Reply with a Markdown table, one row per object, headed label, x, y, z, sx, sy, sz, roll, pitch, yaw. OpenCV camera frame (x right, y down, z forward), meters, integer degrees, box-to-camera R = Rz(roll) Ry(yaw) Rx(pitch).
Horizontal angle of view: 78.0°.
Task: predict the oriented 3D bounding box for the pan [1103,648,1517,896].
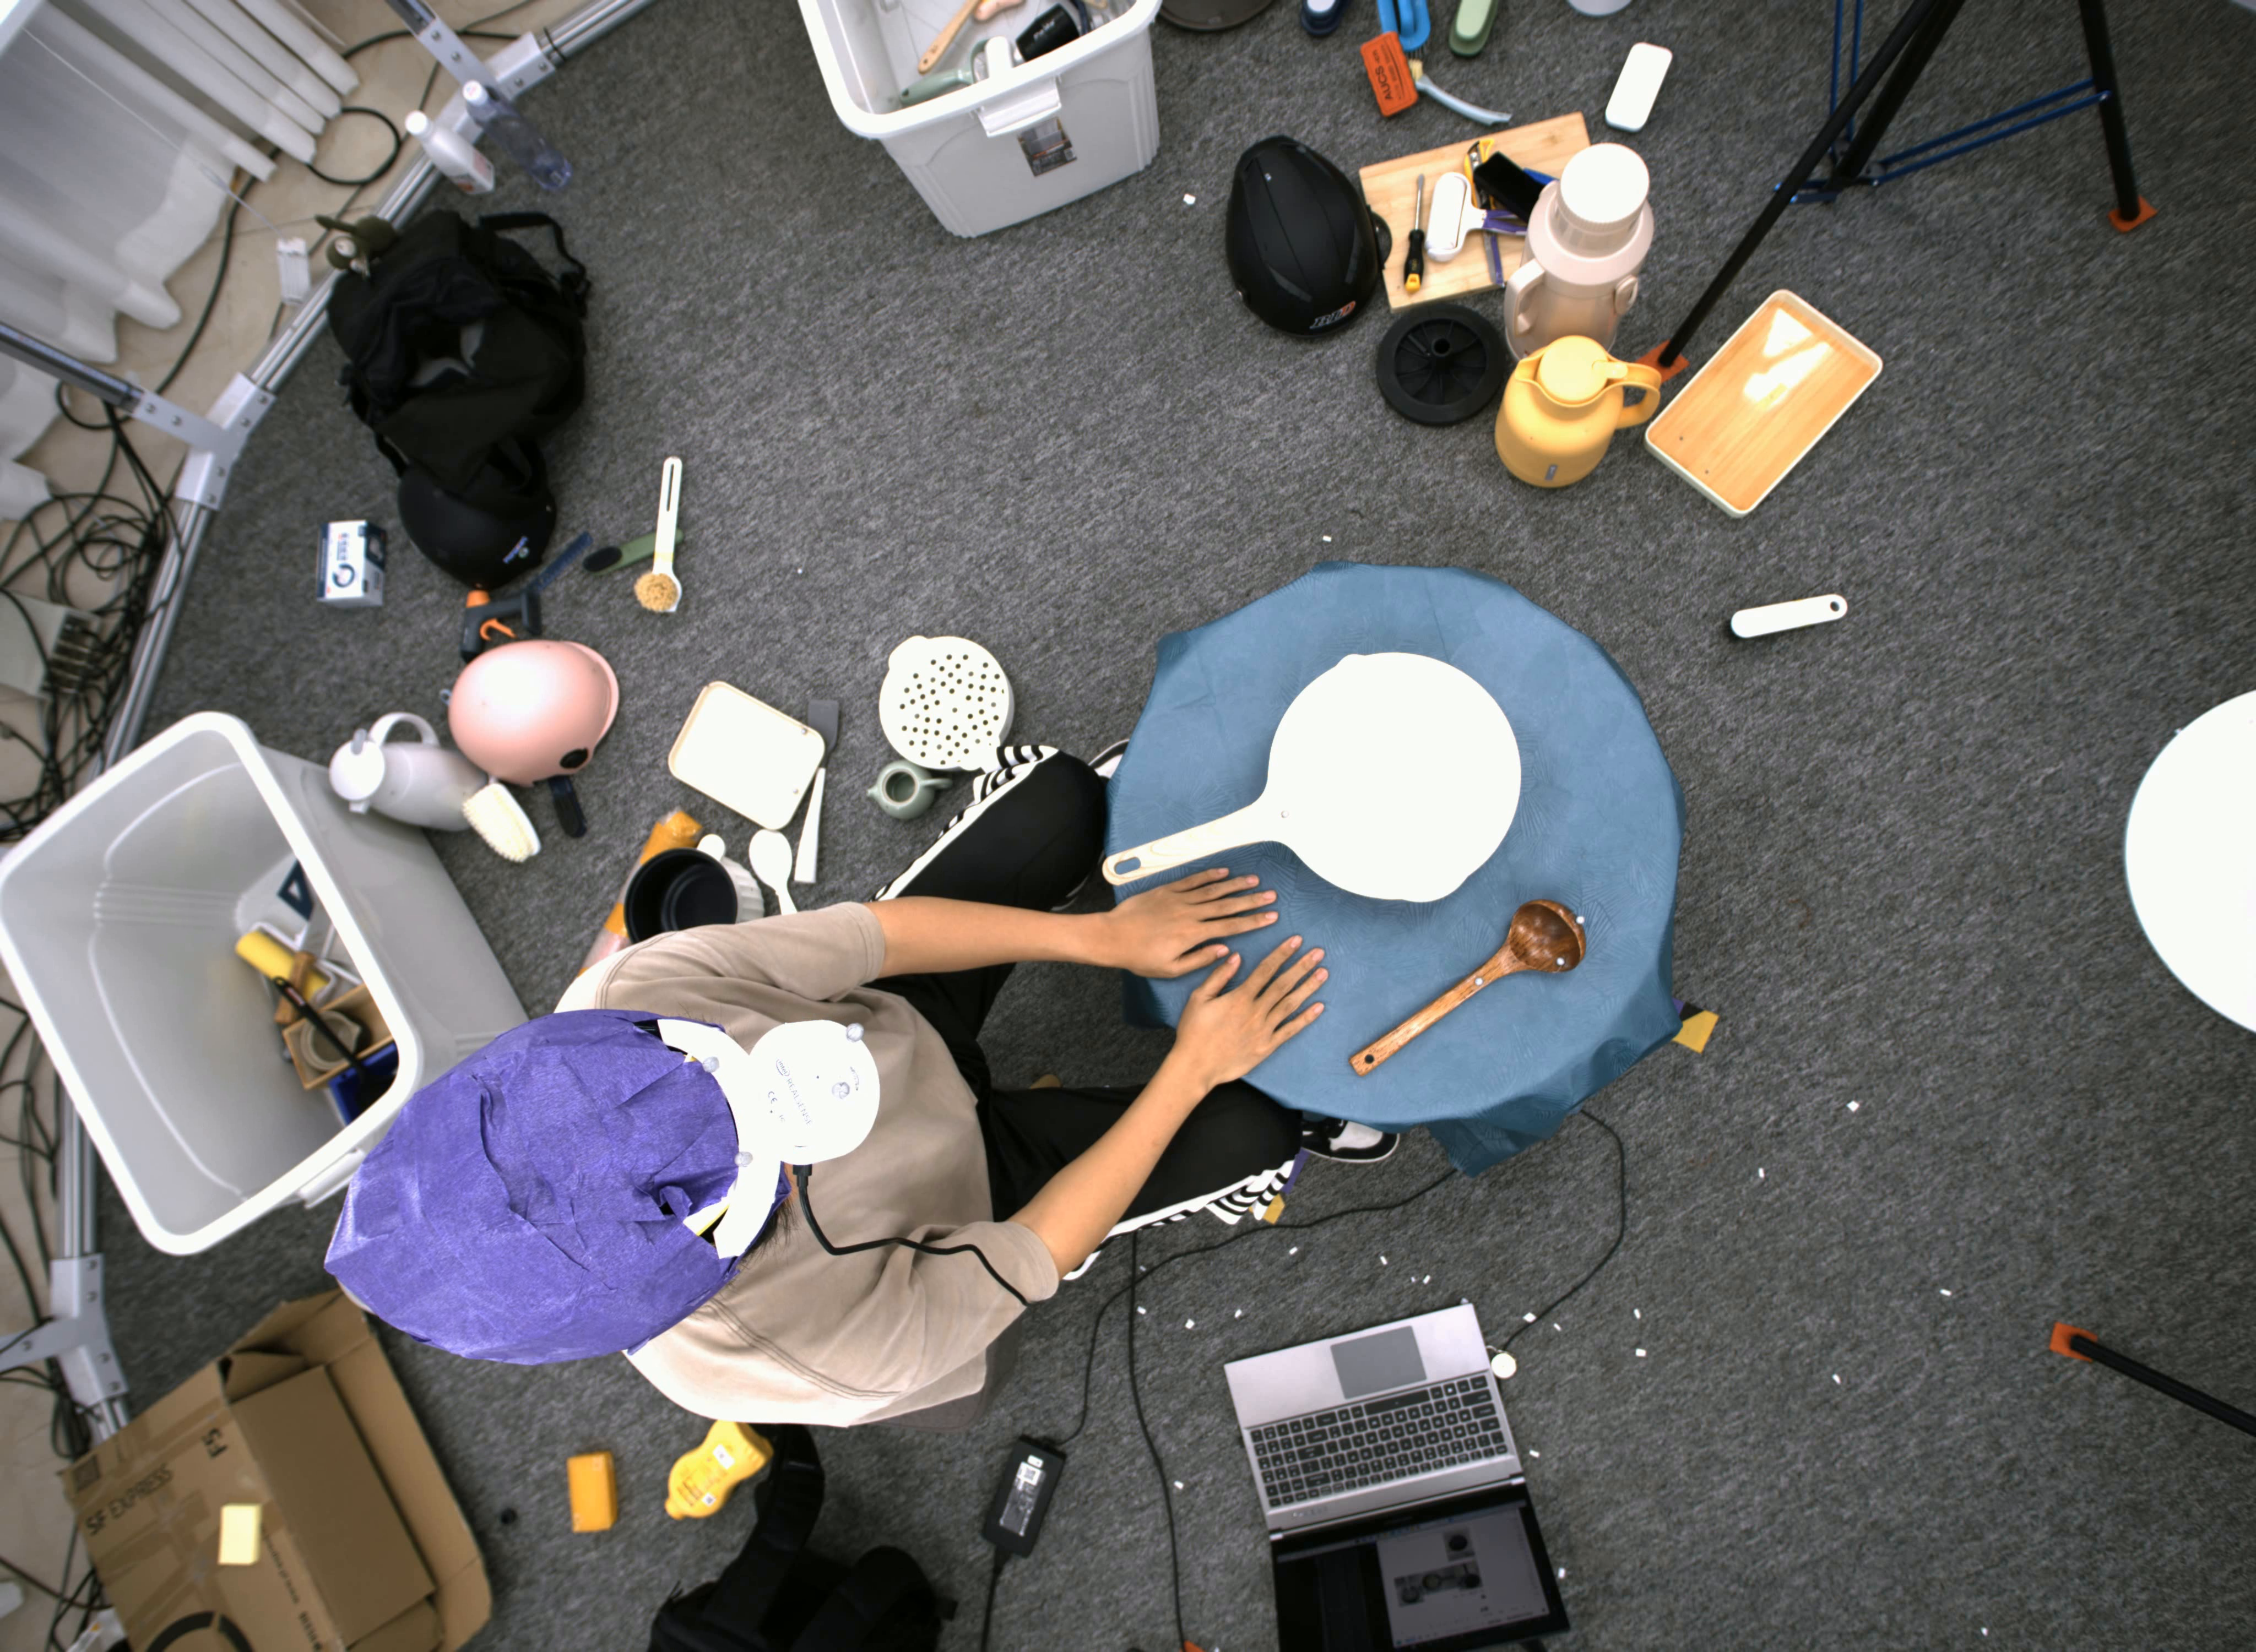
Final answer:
| label | x | y | z | sx | sy | sz | roll | pitch | yaw |
| --- | --- | --- | --- | --- | --- | --- | --- | --- | --- |
| pan | 0.184 | -0.022 | 1.432 | 0.437 | 0.102 | 0.262 | -21 | 84 | 9 |

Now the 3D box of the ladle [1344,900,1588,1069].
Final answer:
| label | x | y | z | sx | sy | sz | roll | pitch | yaw |
| --- | --- | --- | --- | --- | --- | --- | --- | --- | --- |
| ladle | 0.341 | 0.170 | 1.402 | 0.275 | 0.076 | 0.081 | -34 | 82 | 6 |
